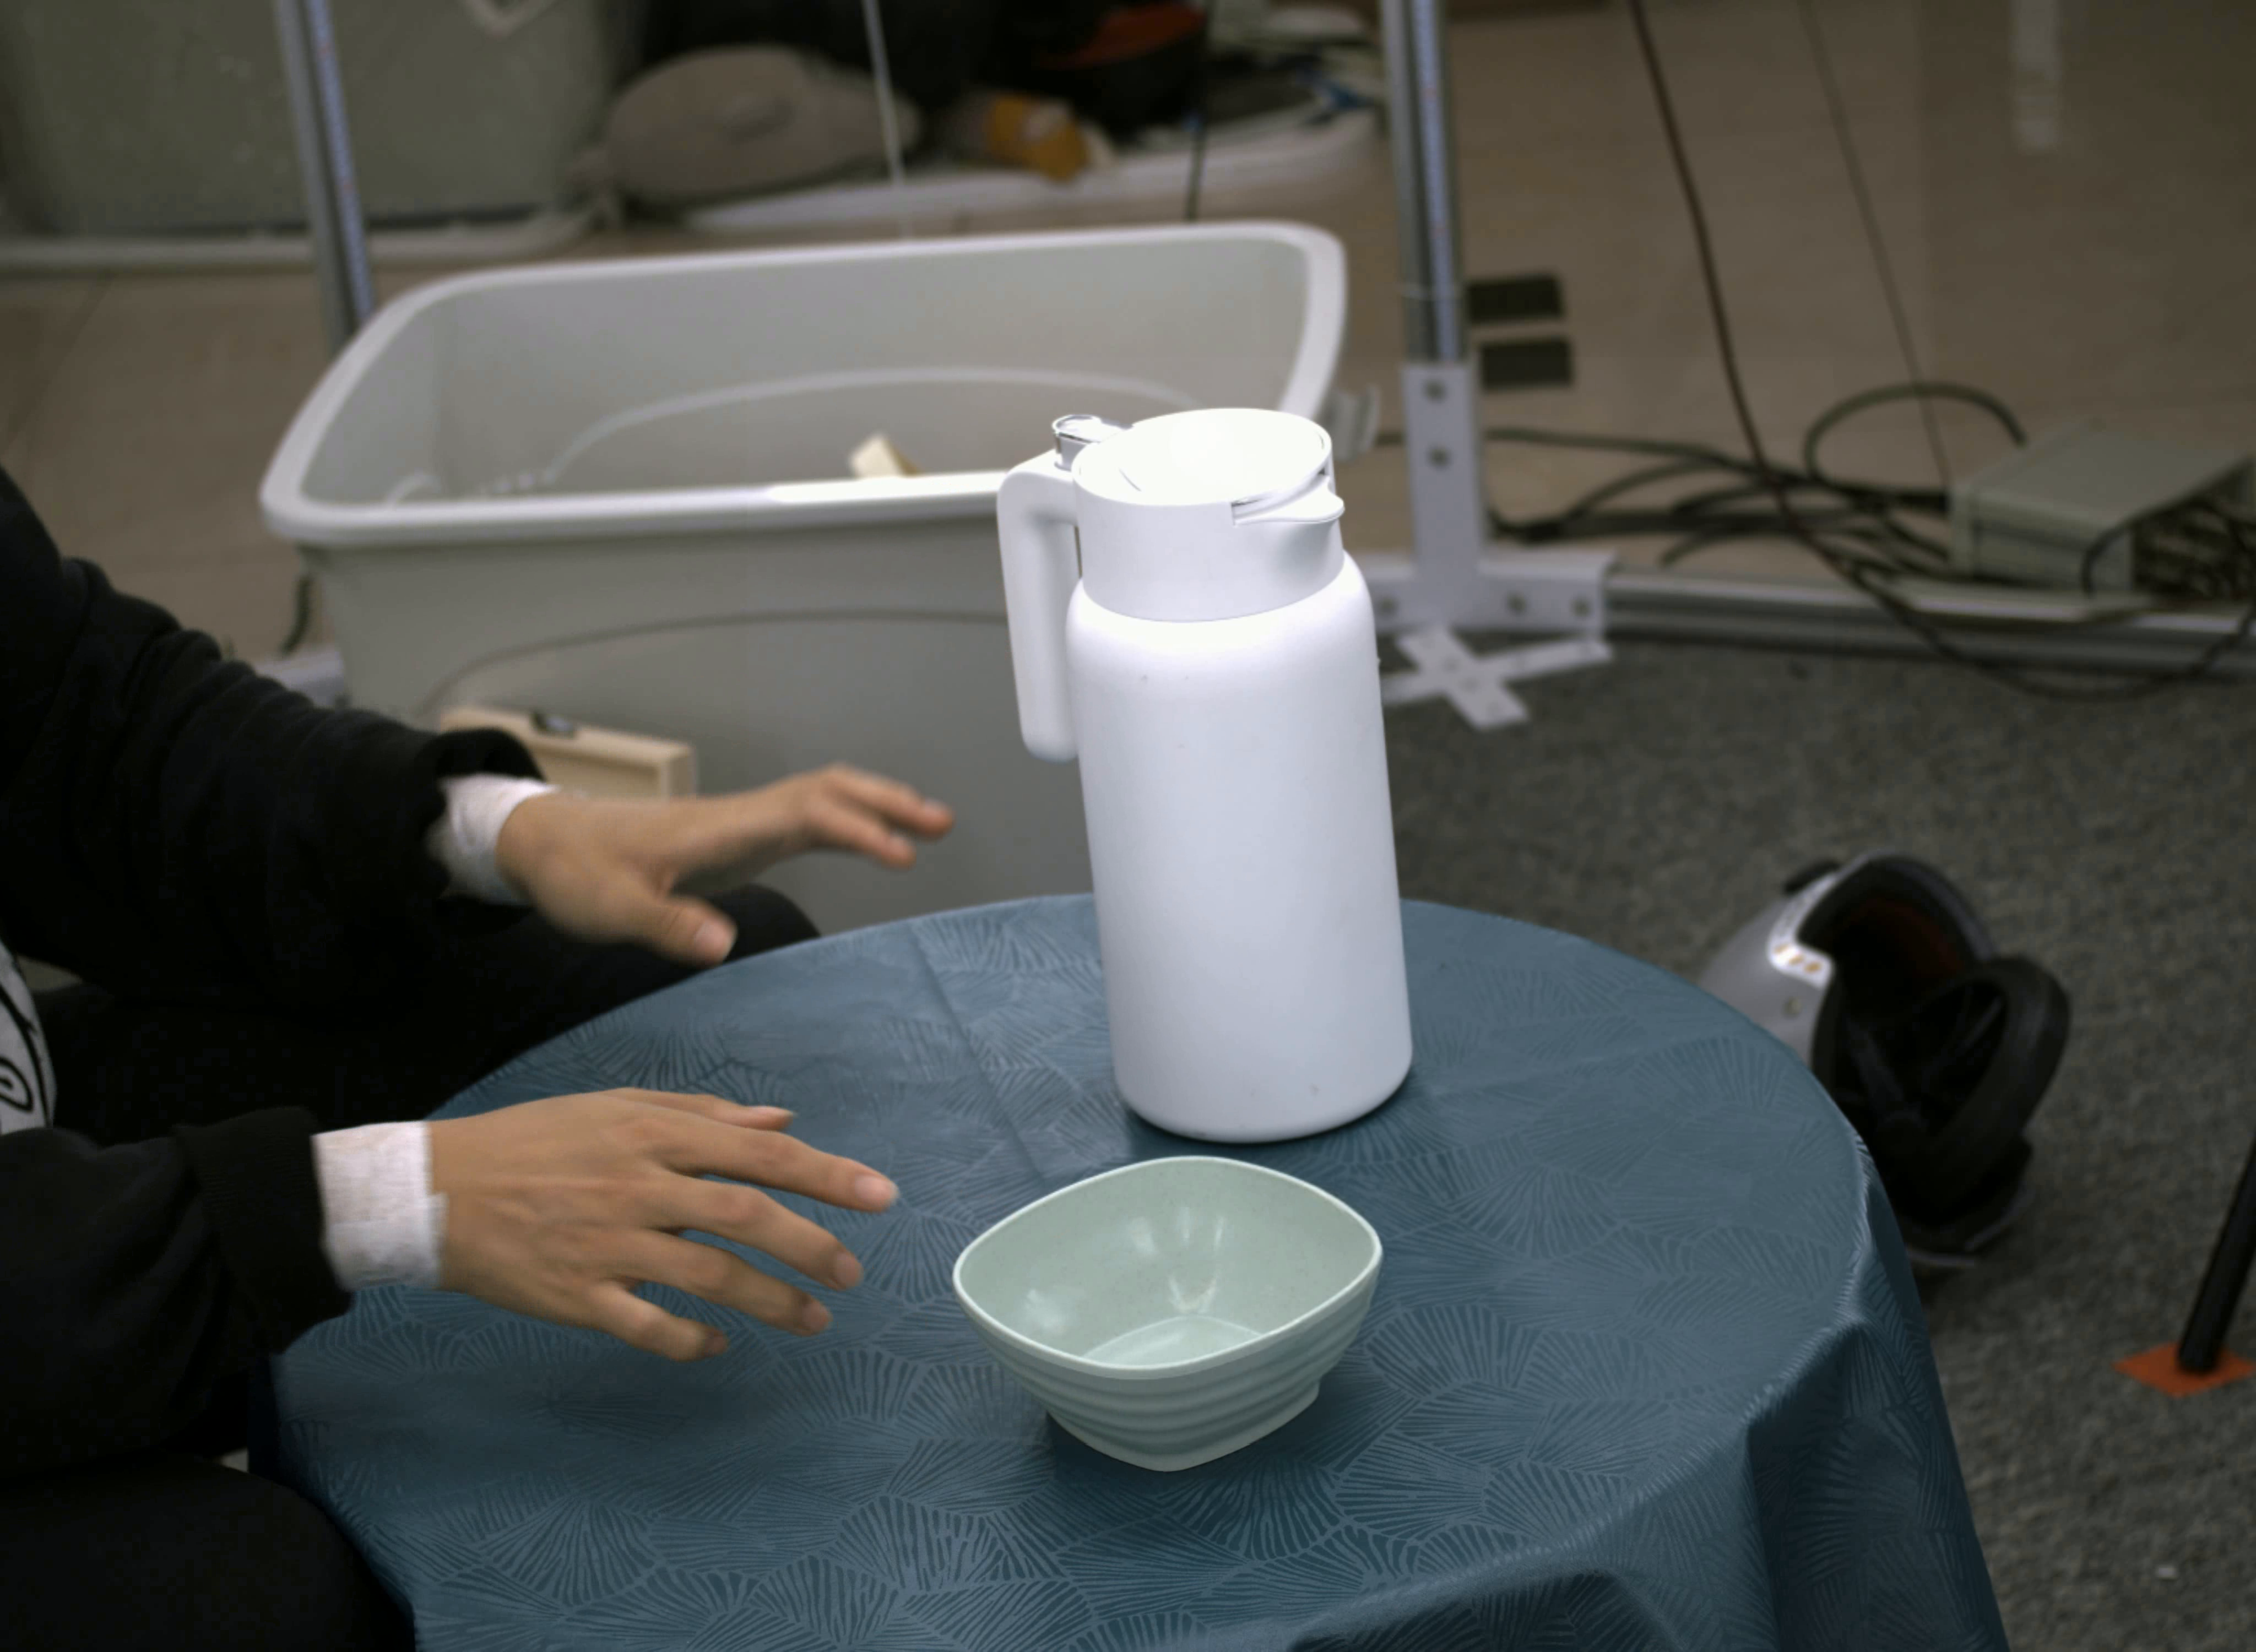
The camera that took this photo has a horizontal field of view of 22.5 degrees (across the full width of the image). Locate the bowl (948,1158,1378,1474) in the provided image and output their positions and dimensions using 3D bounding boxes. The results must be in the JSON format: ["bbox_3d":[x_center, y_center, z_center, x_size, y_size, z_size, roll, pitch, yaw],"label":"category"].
[{"bbox_3d":[0.014,0.178,1.997,0.151,0.059,0.149,-4,26,2],"label":"bowl"}]

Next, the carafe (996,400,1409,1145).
[{"bbox_3d":[0.027,-0.022,2.169,0.171,0.273,0.122,18,37,40],"label":"carafe"}]
